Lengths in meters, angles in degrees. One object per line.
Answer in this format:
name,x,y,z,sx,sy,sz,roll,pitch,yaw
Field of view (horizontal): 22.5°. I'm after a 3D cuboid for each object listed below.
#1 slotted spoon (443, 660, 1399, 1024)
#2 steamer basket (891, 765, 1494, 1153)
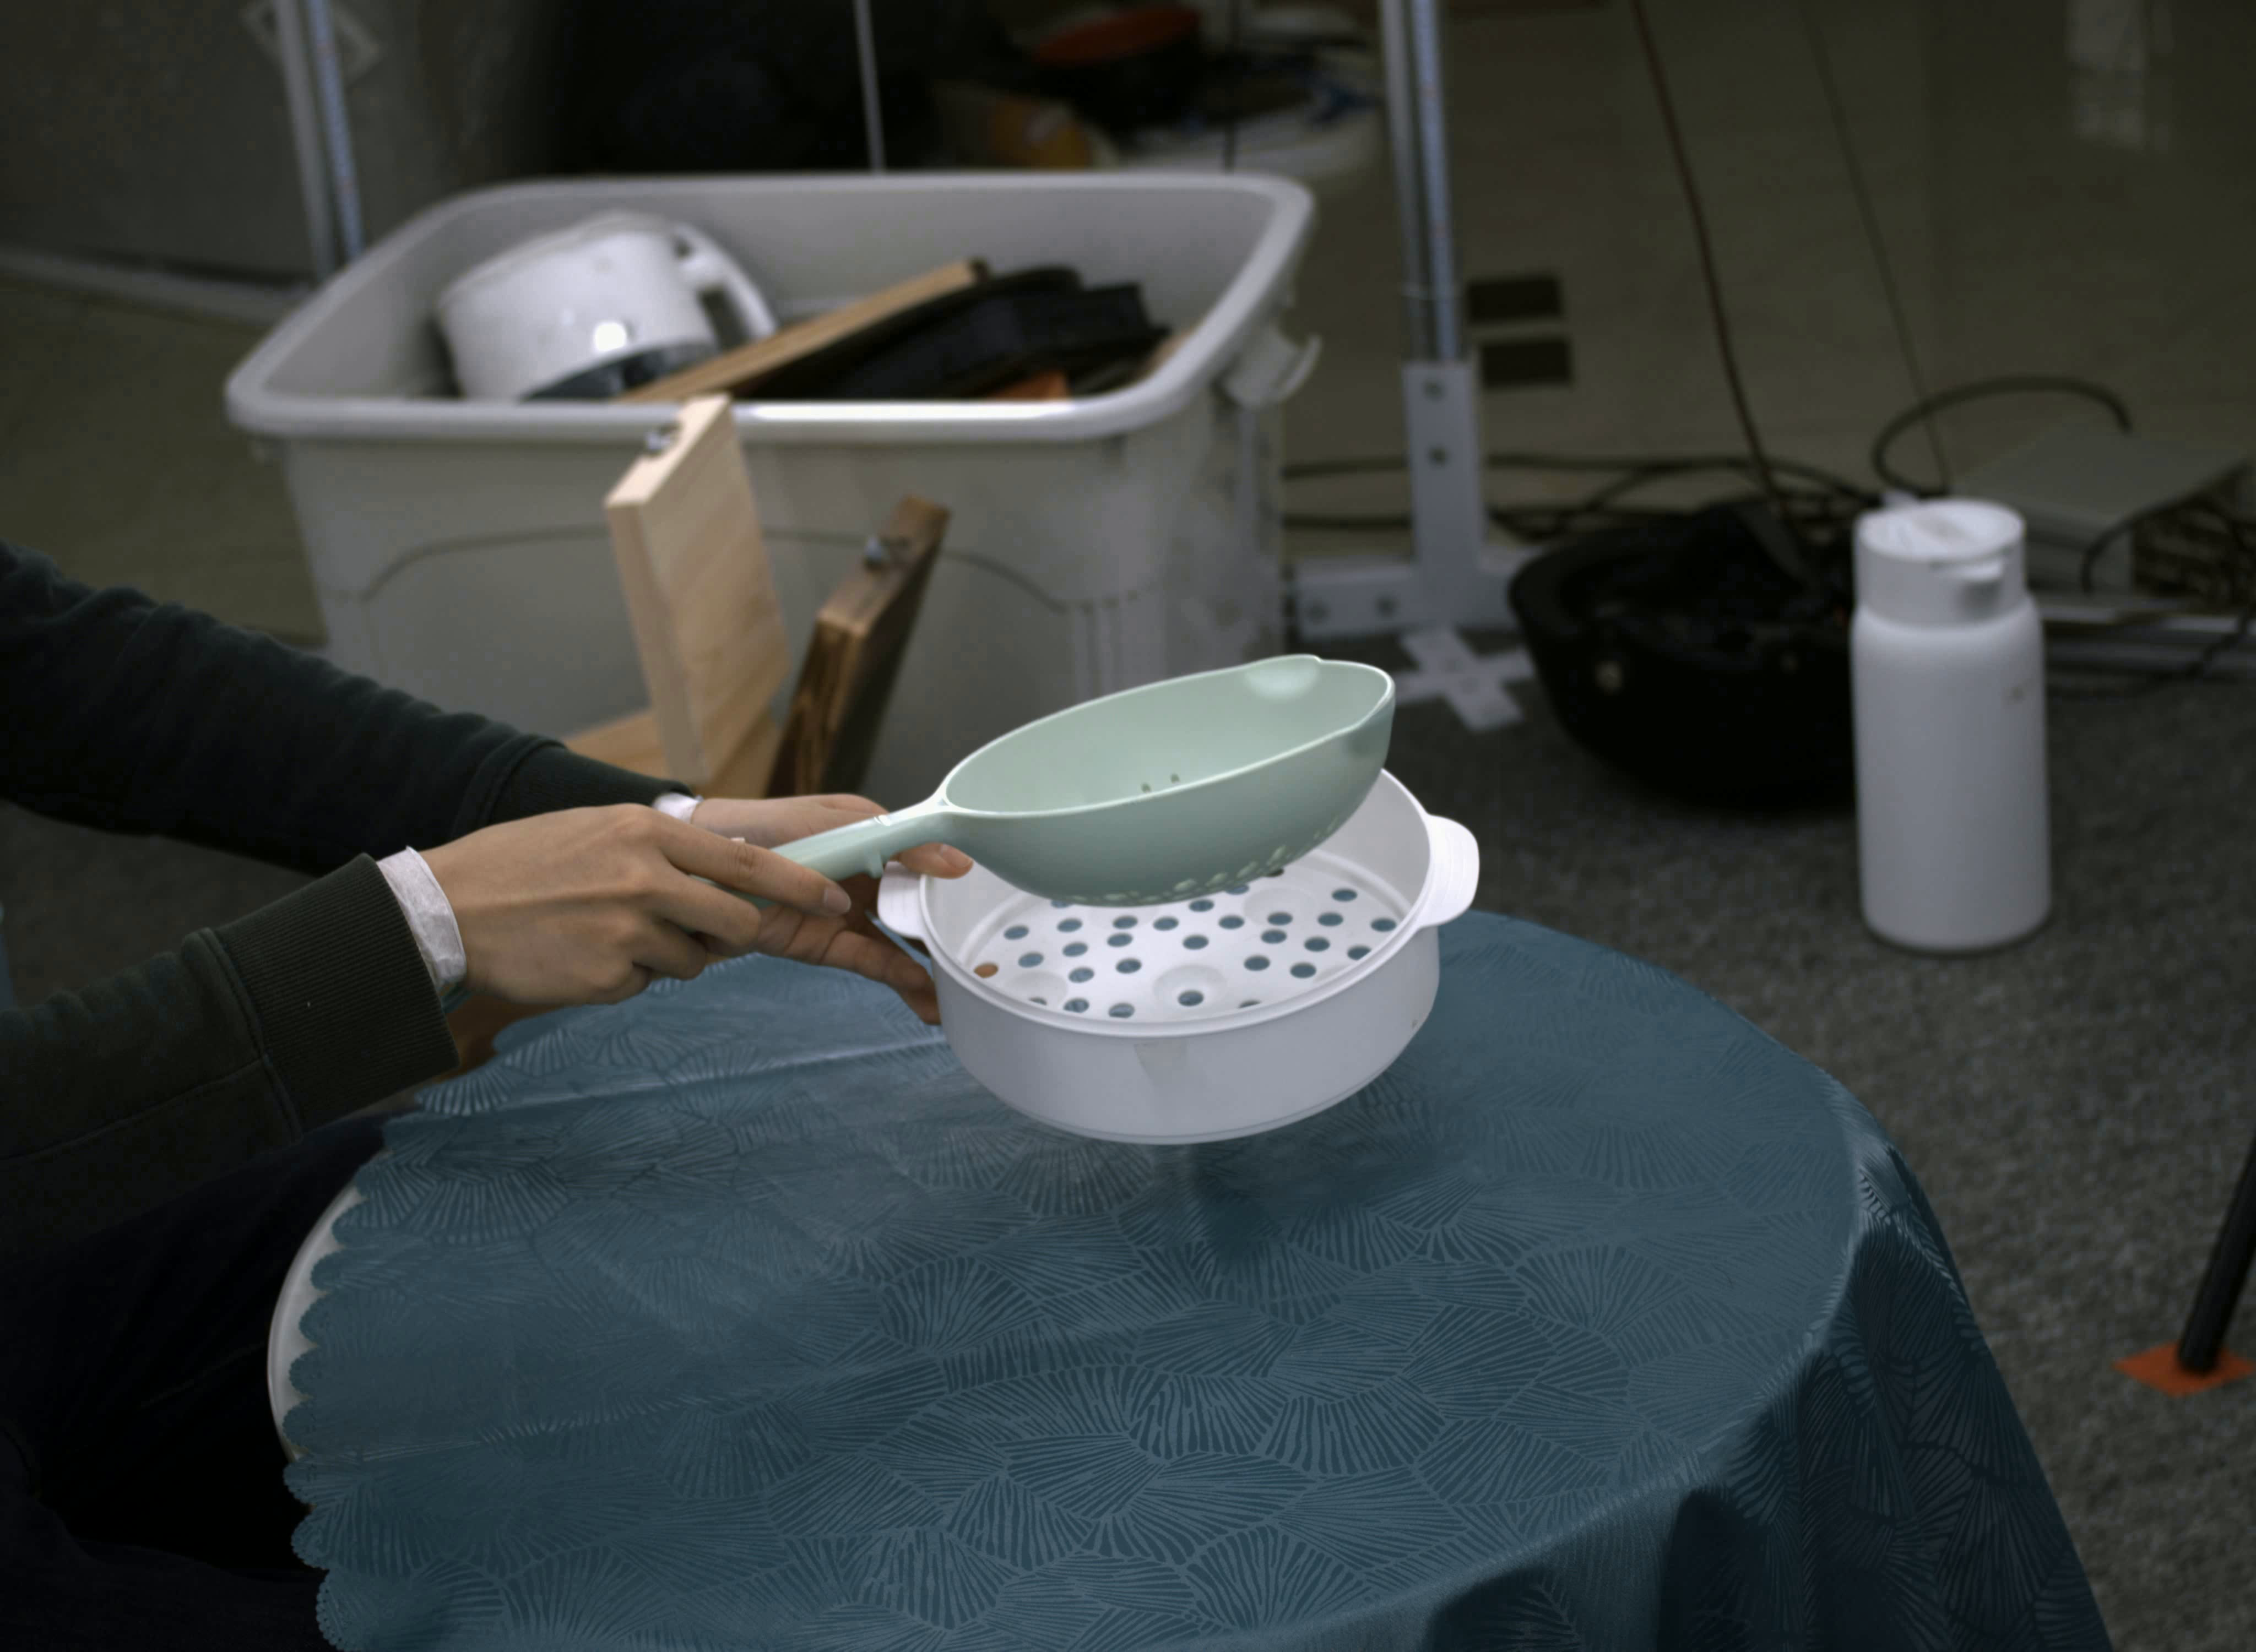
slotted spoon,-0.074,0.008,2.047,0.358,0.076,0.168,-9,13,-11
steamer basket,0.027,0.044,2.170,0.230,0.070,0.198,-2,35,7
